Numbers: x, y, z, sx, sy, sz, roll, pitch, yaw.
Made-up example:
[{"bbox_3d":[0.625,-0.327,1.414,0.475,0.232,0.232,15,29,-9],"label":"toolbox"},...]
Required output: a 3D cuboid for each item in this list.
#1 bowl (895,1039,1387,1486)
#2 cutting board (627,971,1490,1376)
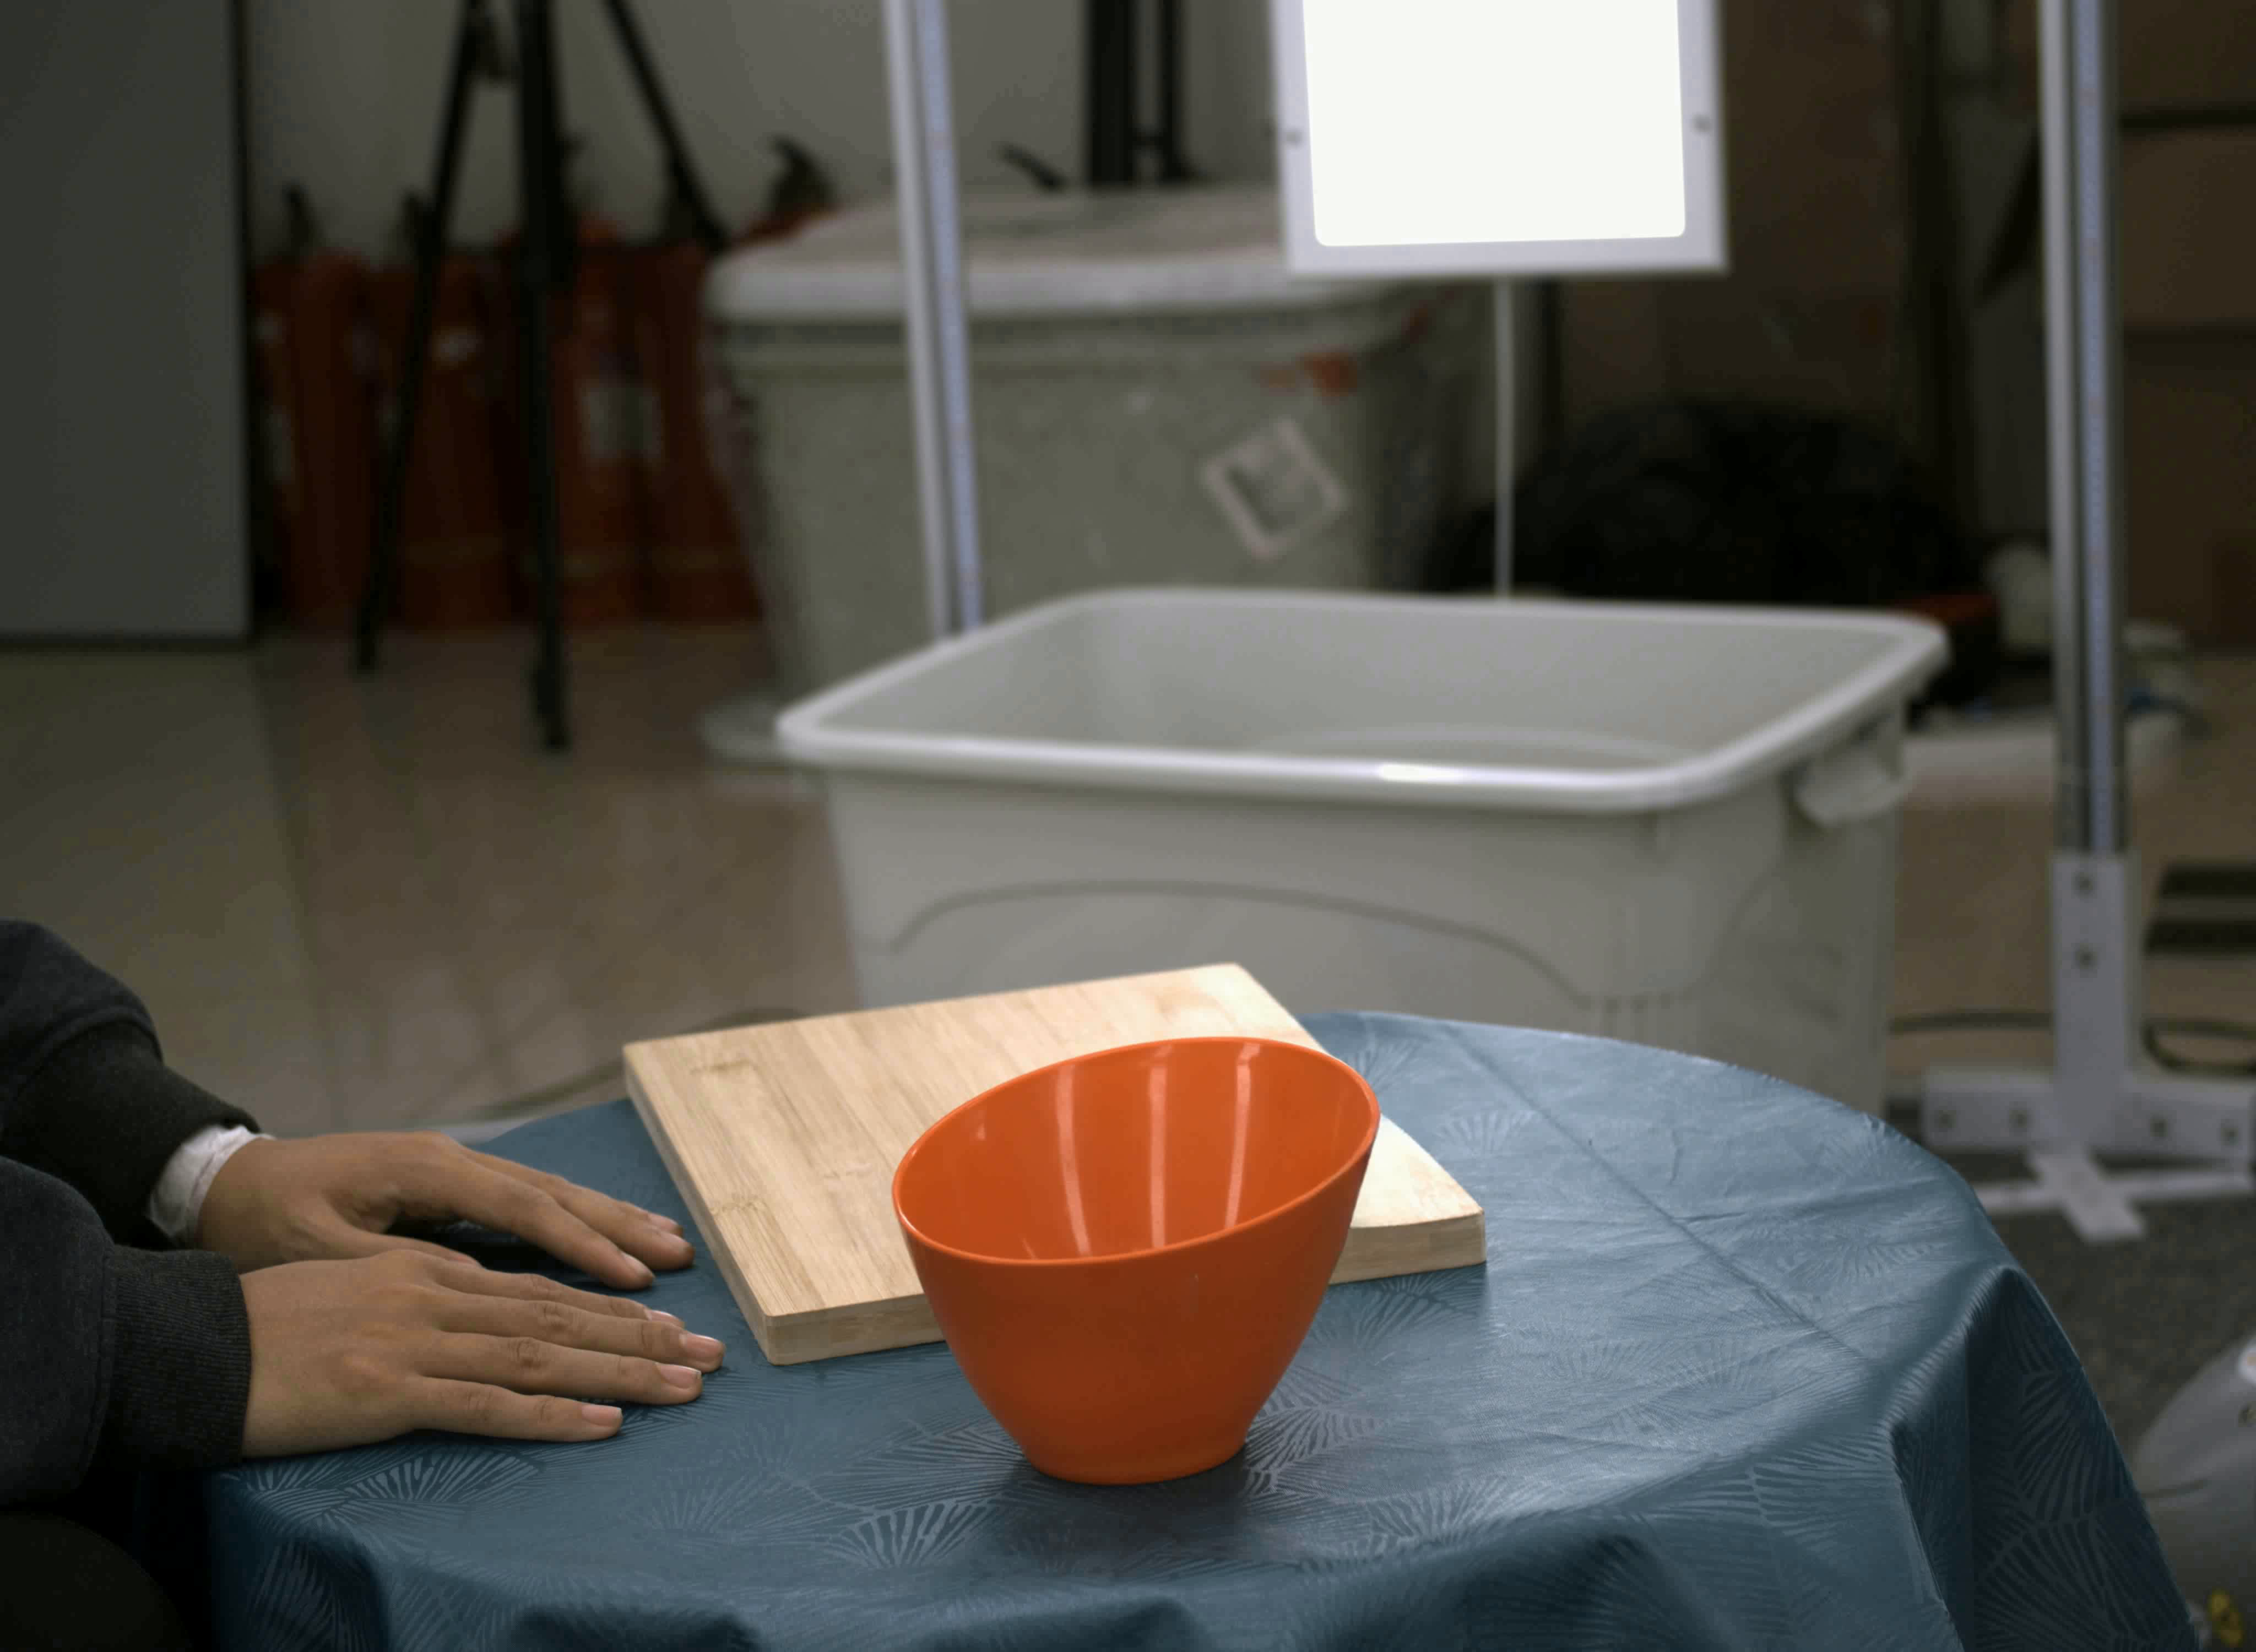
[{"bbox_3d":[0.005,0.134,1.647,0.147,0.105,0.148,-3,15,-1],"label":"bowl"},{"bbox_3d":[-0.035,0.115,1.925,0.248,0.023,0.351,-9,14,-11],"label":"cutting board"}]
